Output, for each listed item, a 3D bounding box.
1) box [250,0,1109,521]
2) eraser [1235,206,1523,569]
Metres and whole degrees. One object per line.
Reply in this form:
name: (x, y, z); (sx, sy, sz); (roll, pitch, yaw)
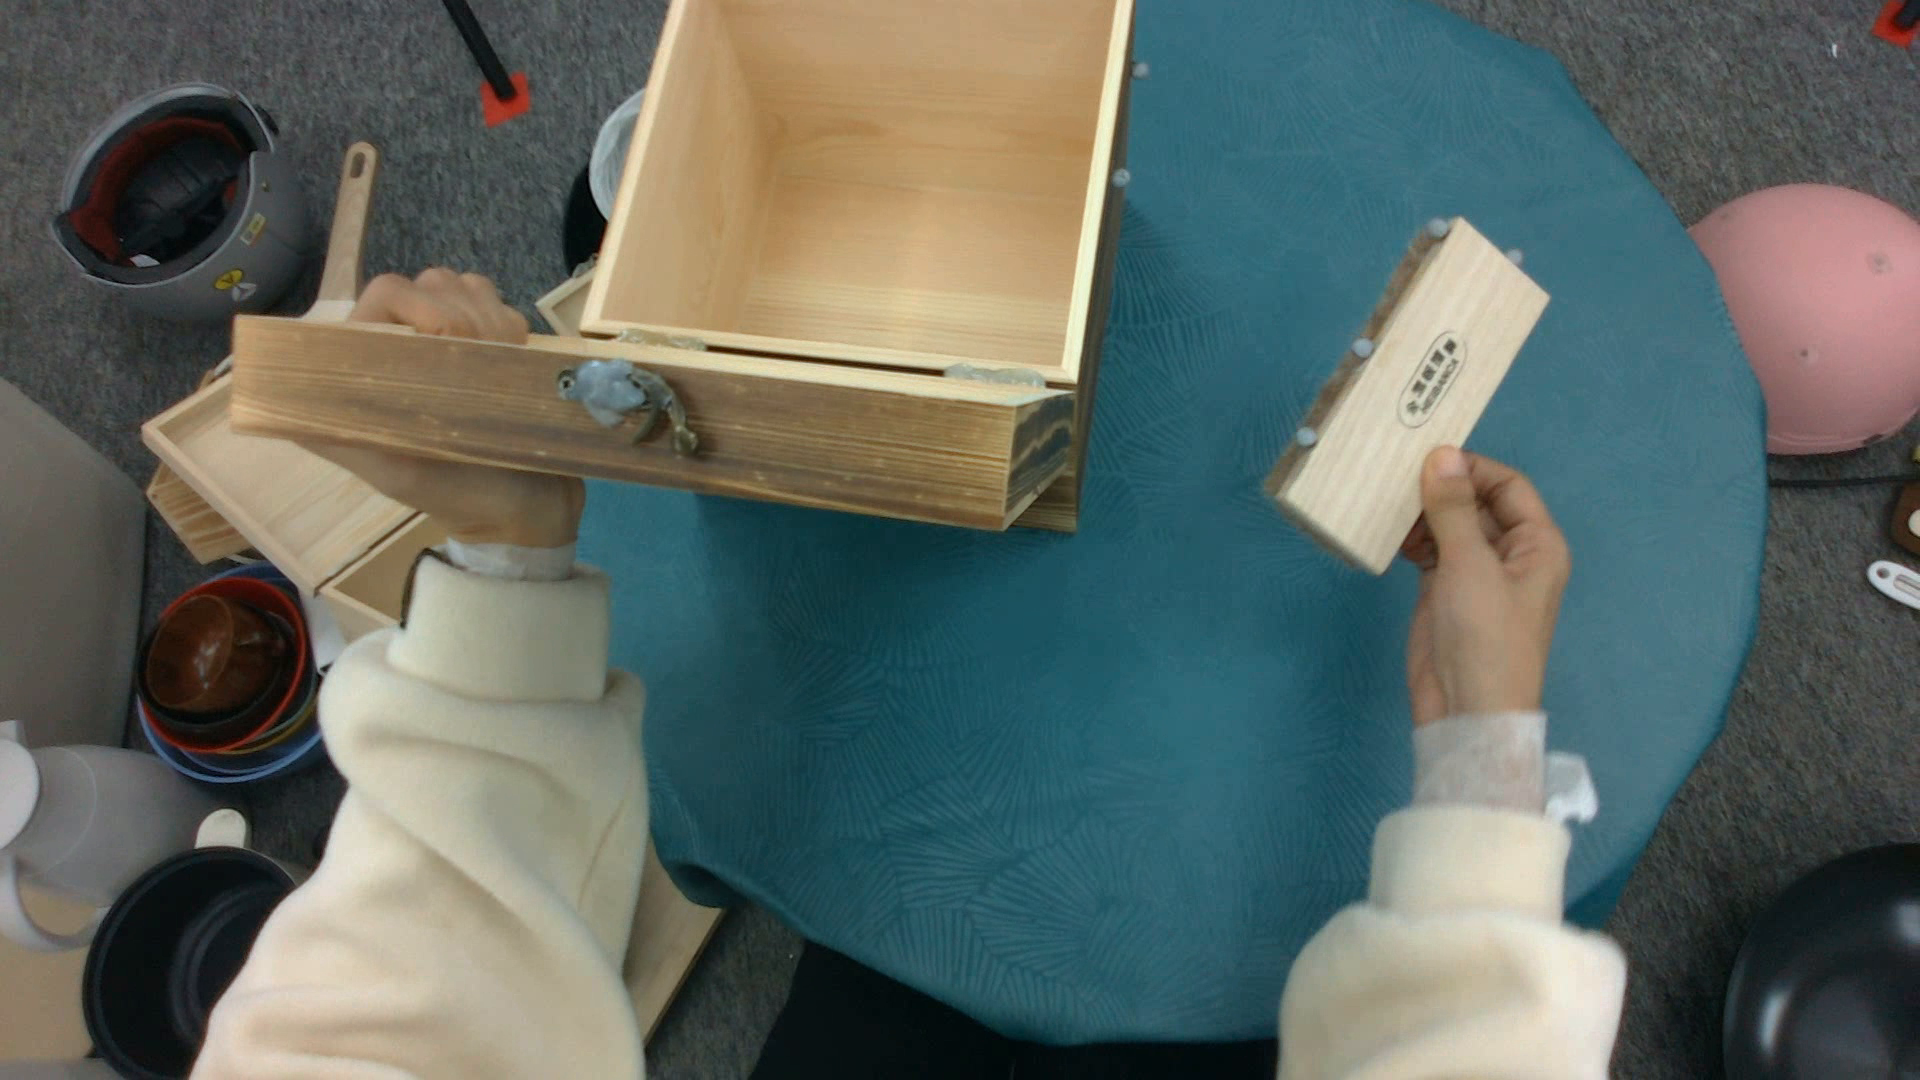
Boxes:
box: (-0.052, -0.127, 0.540); (0.208, 0.374, 0.323); (6, 70, 6)
eraser: (0.167, -0.062, 0.554); (0.057, 0.029, 0.139); (36, 83, -23)
